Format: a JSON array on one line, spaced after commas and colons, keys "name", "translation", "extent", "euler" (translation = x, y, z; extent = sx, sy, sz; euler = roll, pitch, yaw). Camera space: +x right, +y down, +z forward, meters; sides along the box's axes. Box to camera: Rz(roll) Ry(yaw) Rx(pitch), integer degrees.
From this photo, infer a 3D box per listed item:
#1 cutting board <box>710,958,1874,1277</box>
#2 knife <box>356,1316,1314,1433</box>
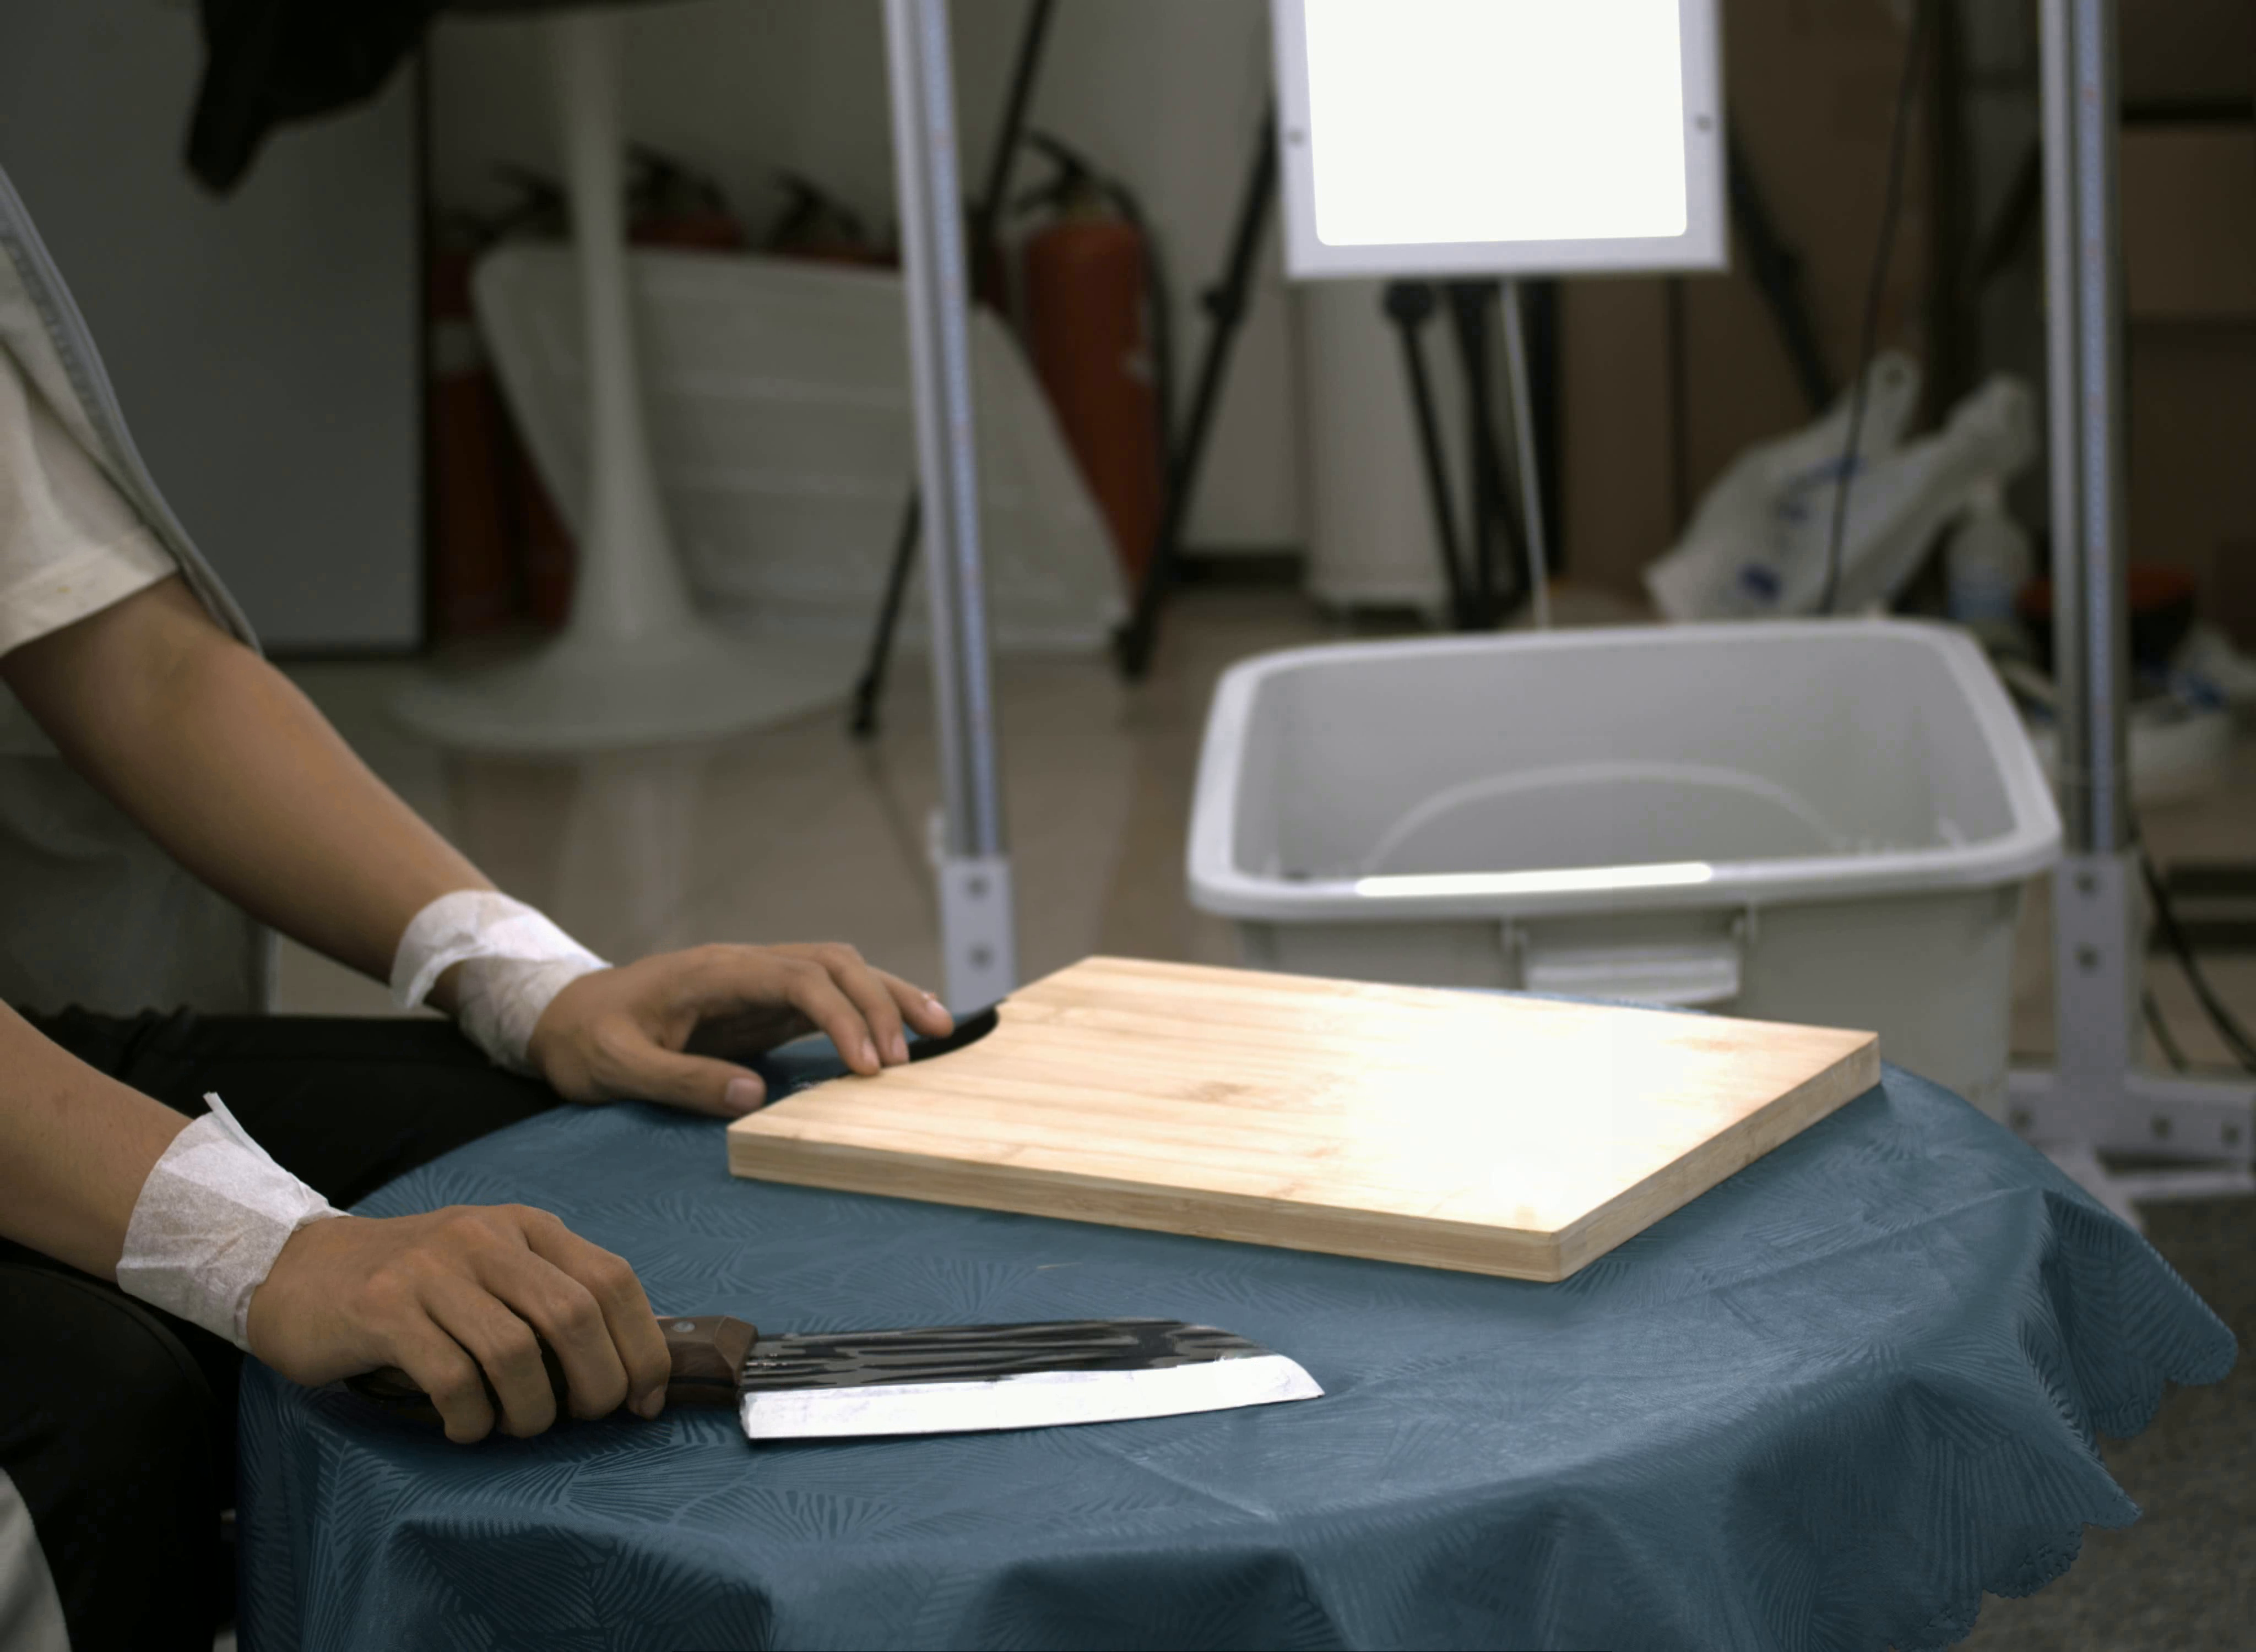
[{"name": "cutting board", "translation": [0.058, 0.099, 1.955], "extent": [0.356, 0.023, 0.245], "euler": [4, 16, 34]}, {"name": "knife", "translation": [-0.092, 0.171, 1.705], "extent": [0.299, 0.024, 0.068], "euler": [-2, 20, 2]}]
